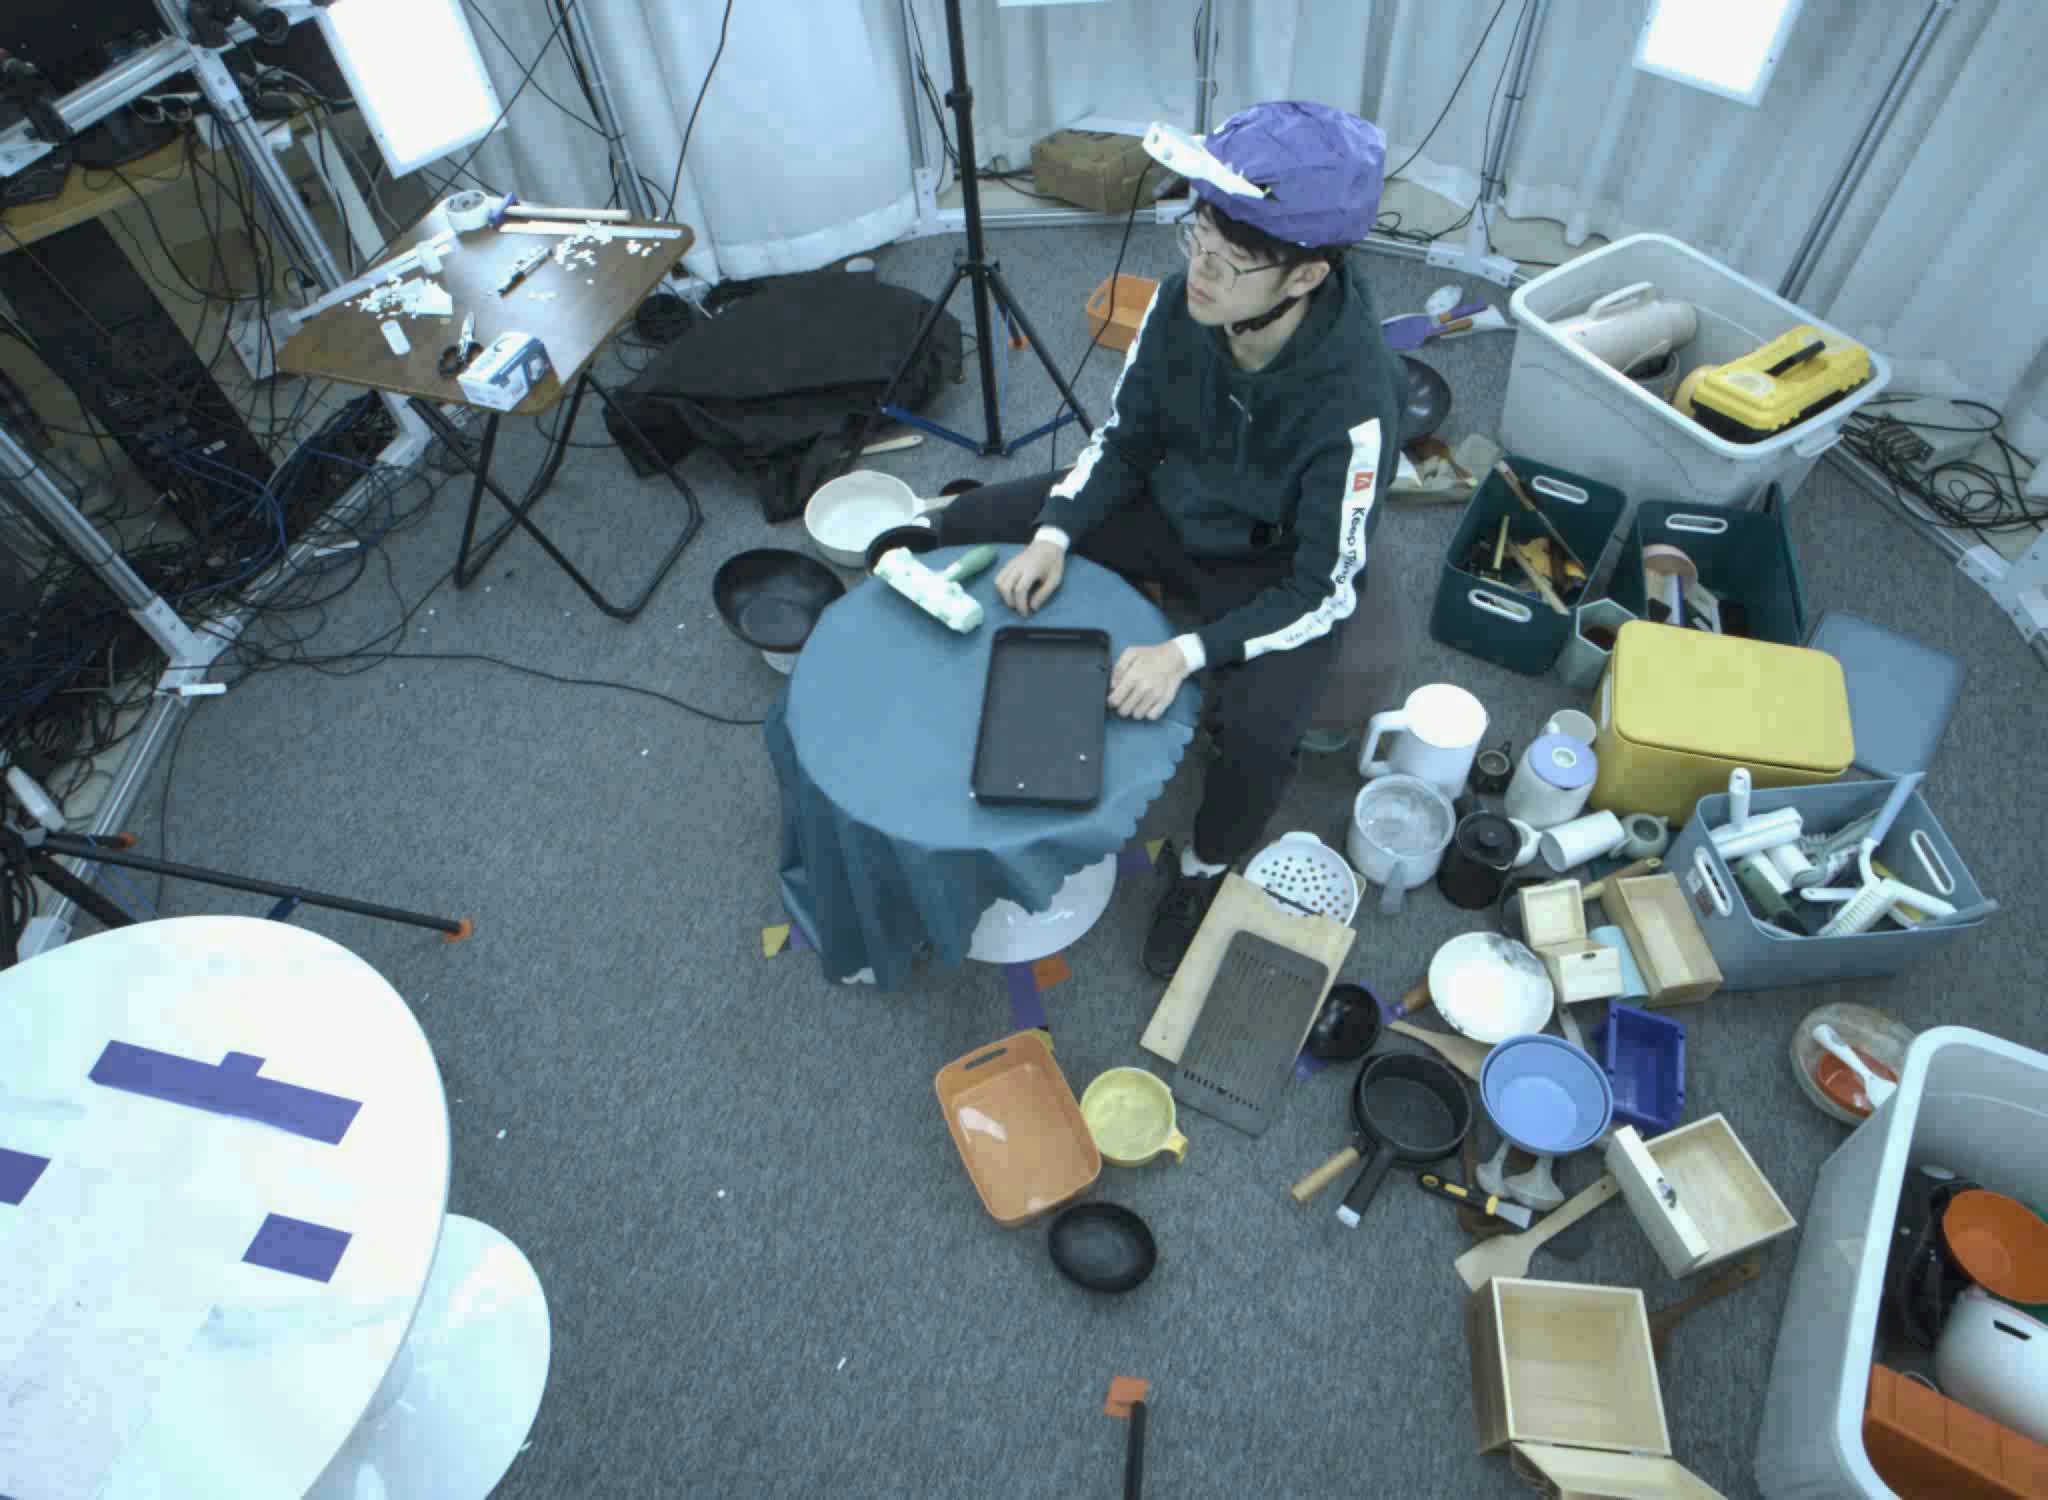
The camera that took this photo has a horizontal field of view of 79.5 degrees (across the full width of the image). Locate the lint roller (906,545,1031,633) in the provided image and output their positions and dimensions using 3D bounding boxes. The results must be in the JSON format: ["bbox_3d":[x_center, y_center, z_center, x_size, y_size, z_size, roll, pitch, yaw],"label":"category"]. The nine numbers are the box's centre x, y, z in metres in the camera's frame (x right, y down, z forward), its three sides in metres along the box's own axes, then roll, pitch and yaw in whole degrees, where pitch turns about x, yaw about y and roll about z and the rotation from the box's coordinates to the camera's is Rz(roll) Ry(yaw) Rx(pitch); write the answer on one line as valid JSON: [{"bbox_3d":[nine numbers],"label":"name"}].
[{"bbox_3d":[-0.061,-0.290,1.942,0.184,0.083,0.195,-41,63,-20],"label":"lint roller"}]

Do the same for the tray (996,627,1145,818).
[{"bbox_3d":[0.071,-0.046,1.791,0.183,0.037,0.316,6,55,6],"label":"tray"}]
